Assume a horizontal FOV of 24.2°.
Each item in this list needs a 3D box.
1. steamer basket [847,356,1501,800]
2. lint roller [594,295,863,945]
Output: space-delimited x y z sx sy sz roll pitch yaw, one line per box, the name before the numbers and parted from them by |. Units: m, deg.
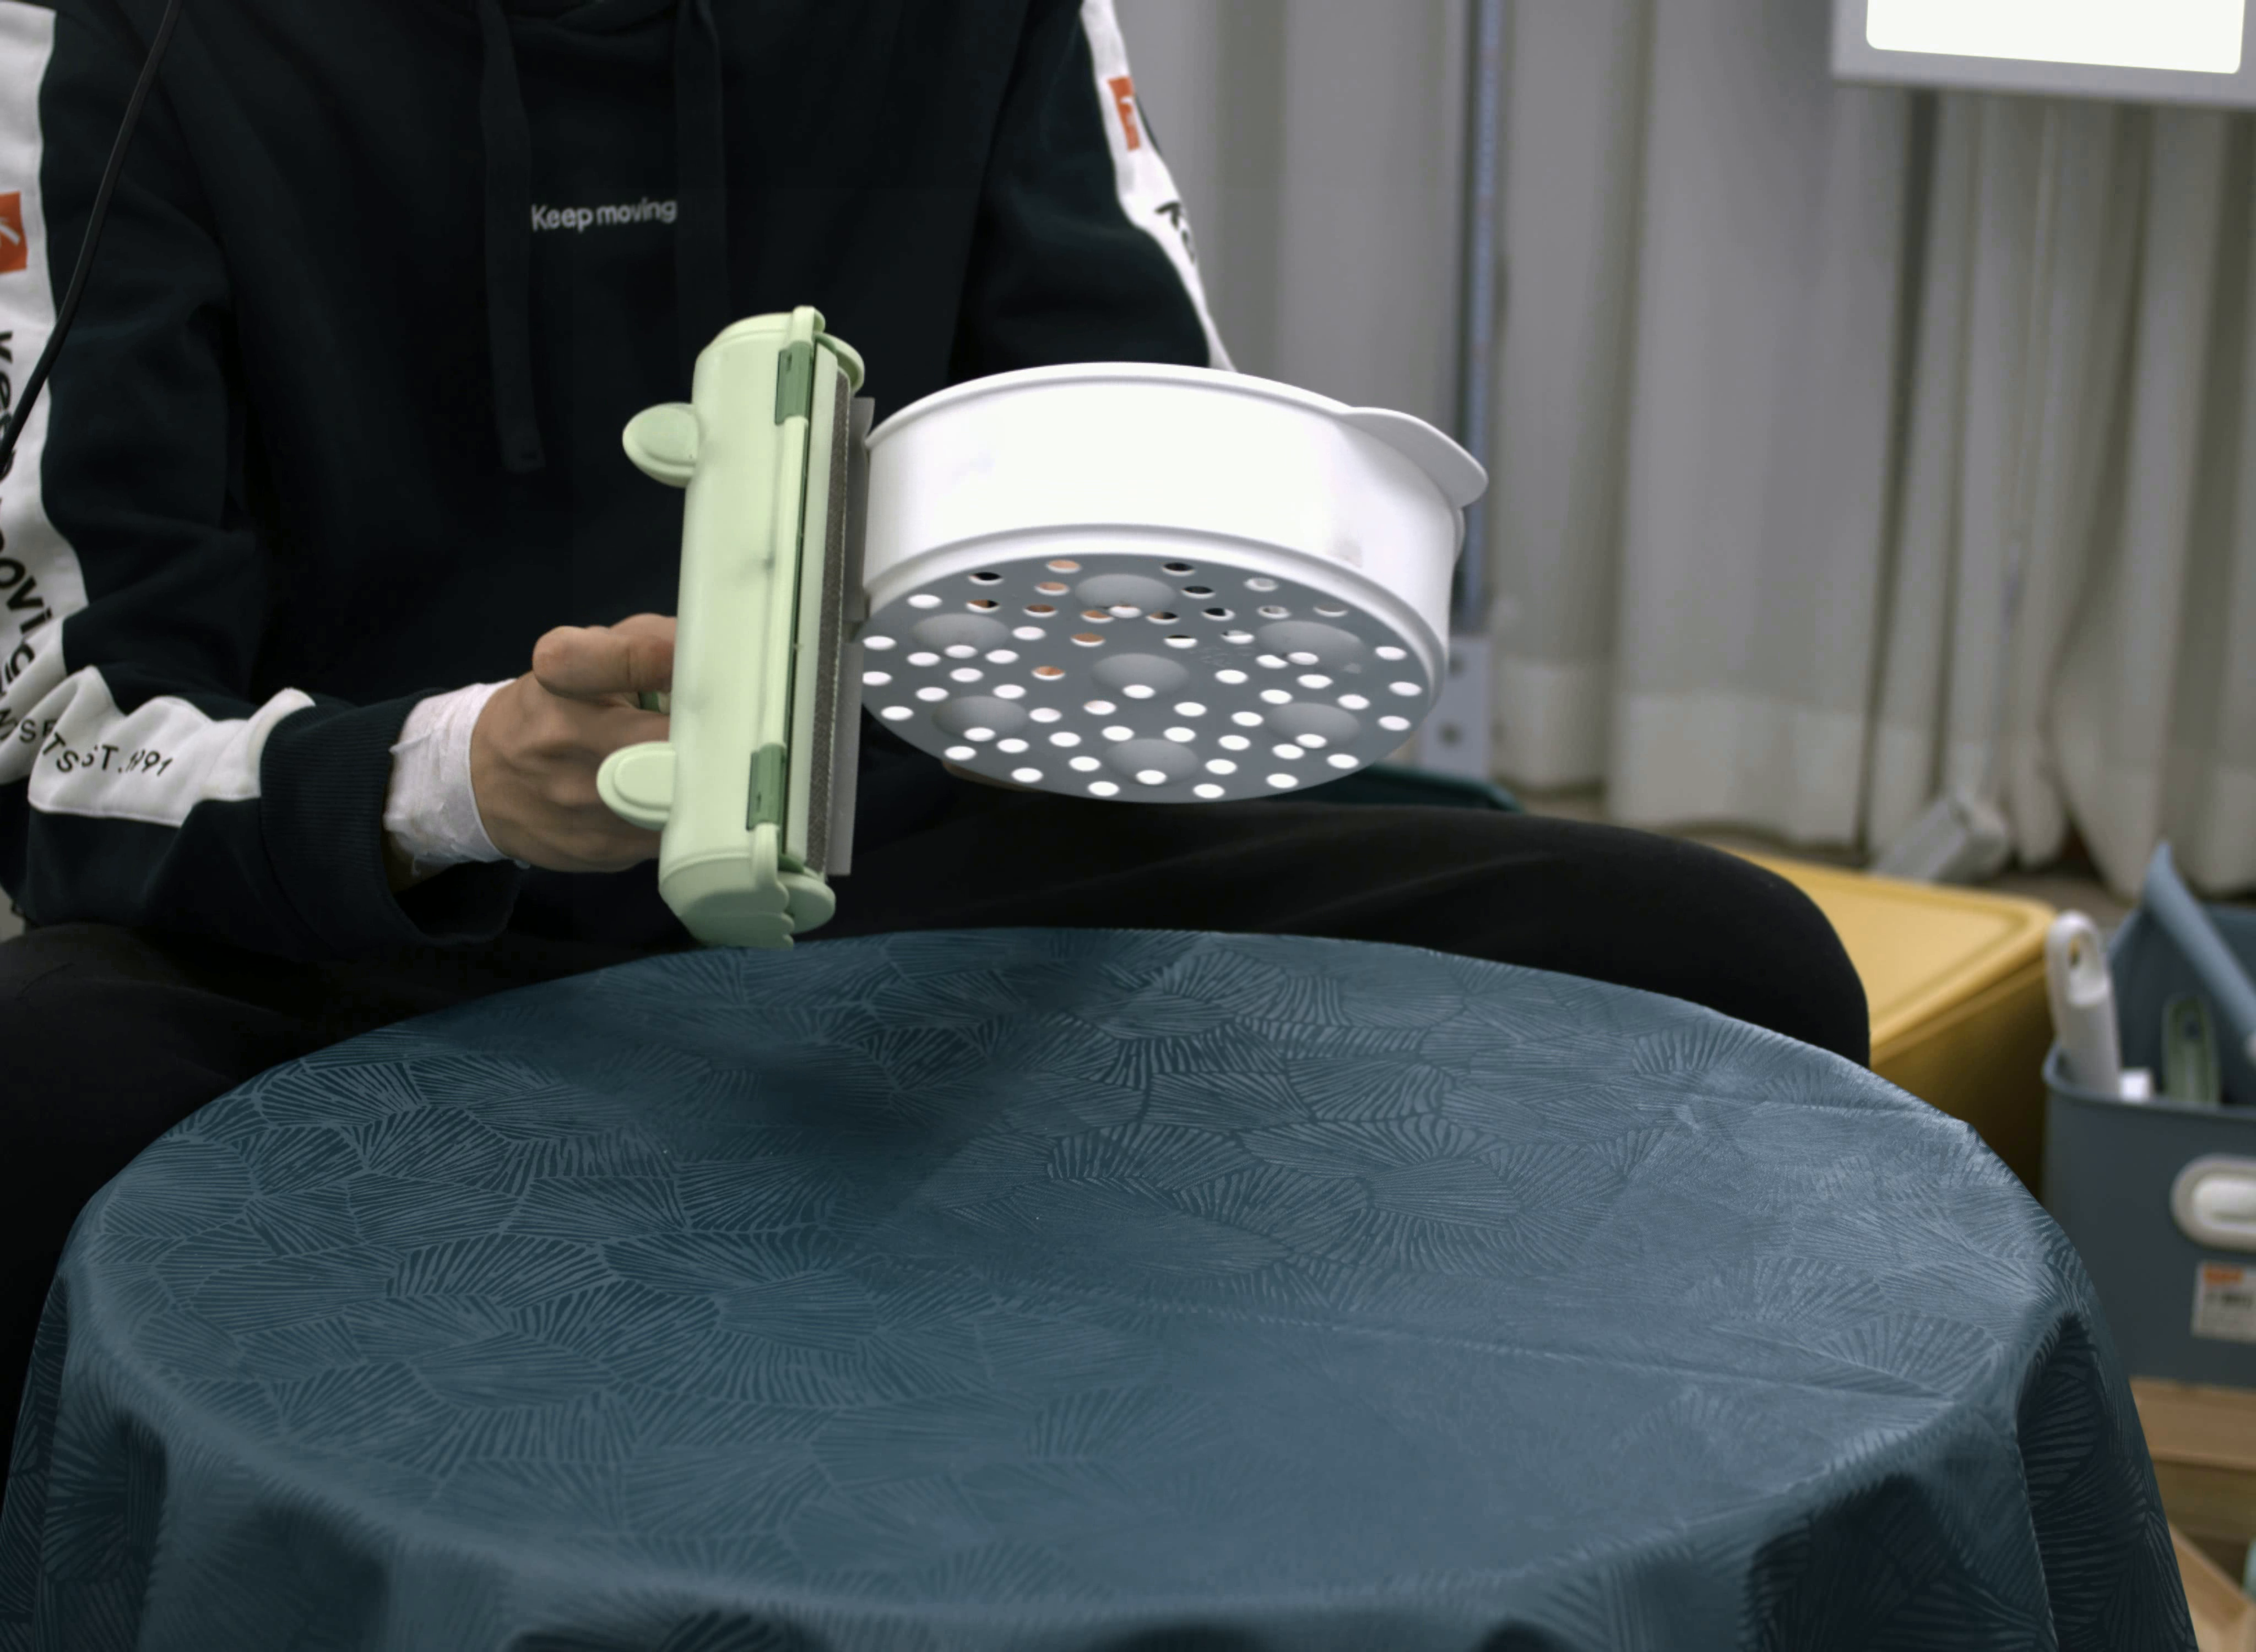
steamer basket | 0.008 -0.072 1.661 0.228 0.069 0.204 -11 -27 32
lint roller | -0.146 -0.047 1.649 0.083 0.198 0.182 14 -25 -28
